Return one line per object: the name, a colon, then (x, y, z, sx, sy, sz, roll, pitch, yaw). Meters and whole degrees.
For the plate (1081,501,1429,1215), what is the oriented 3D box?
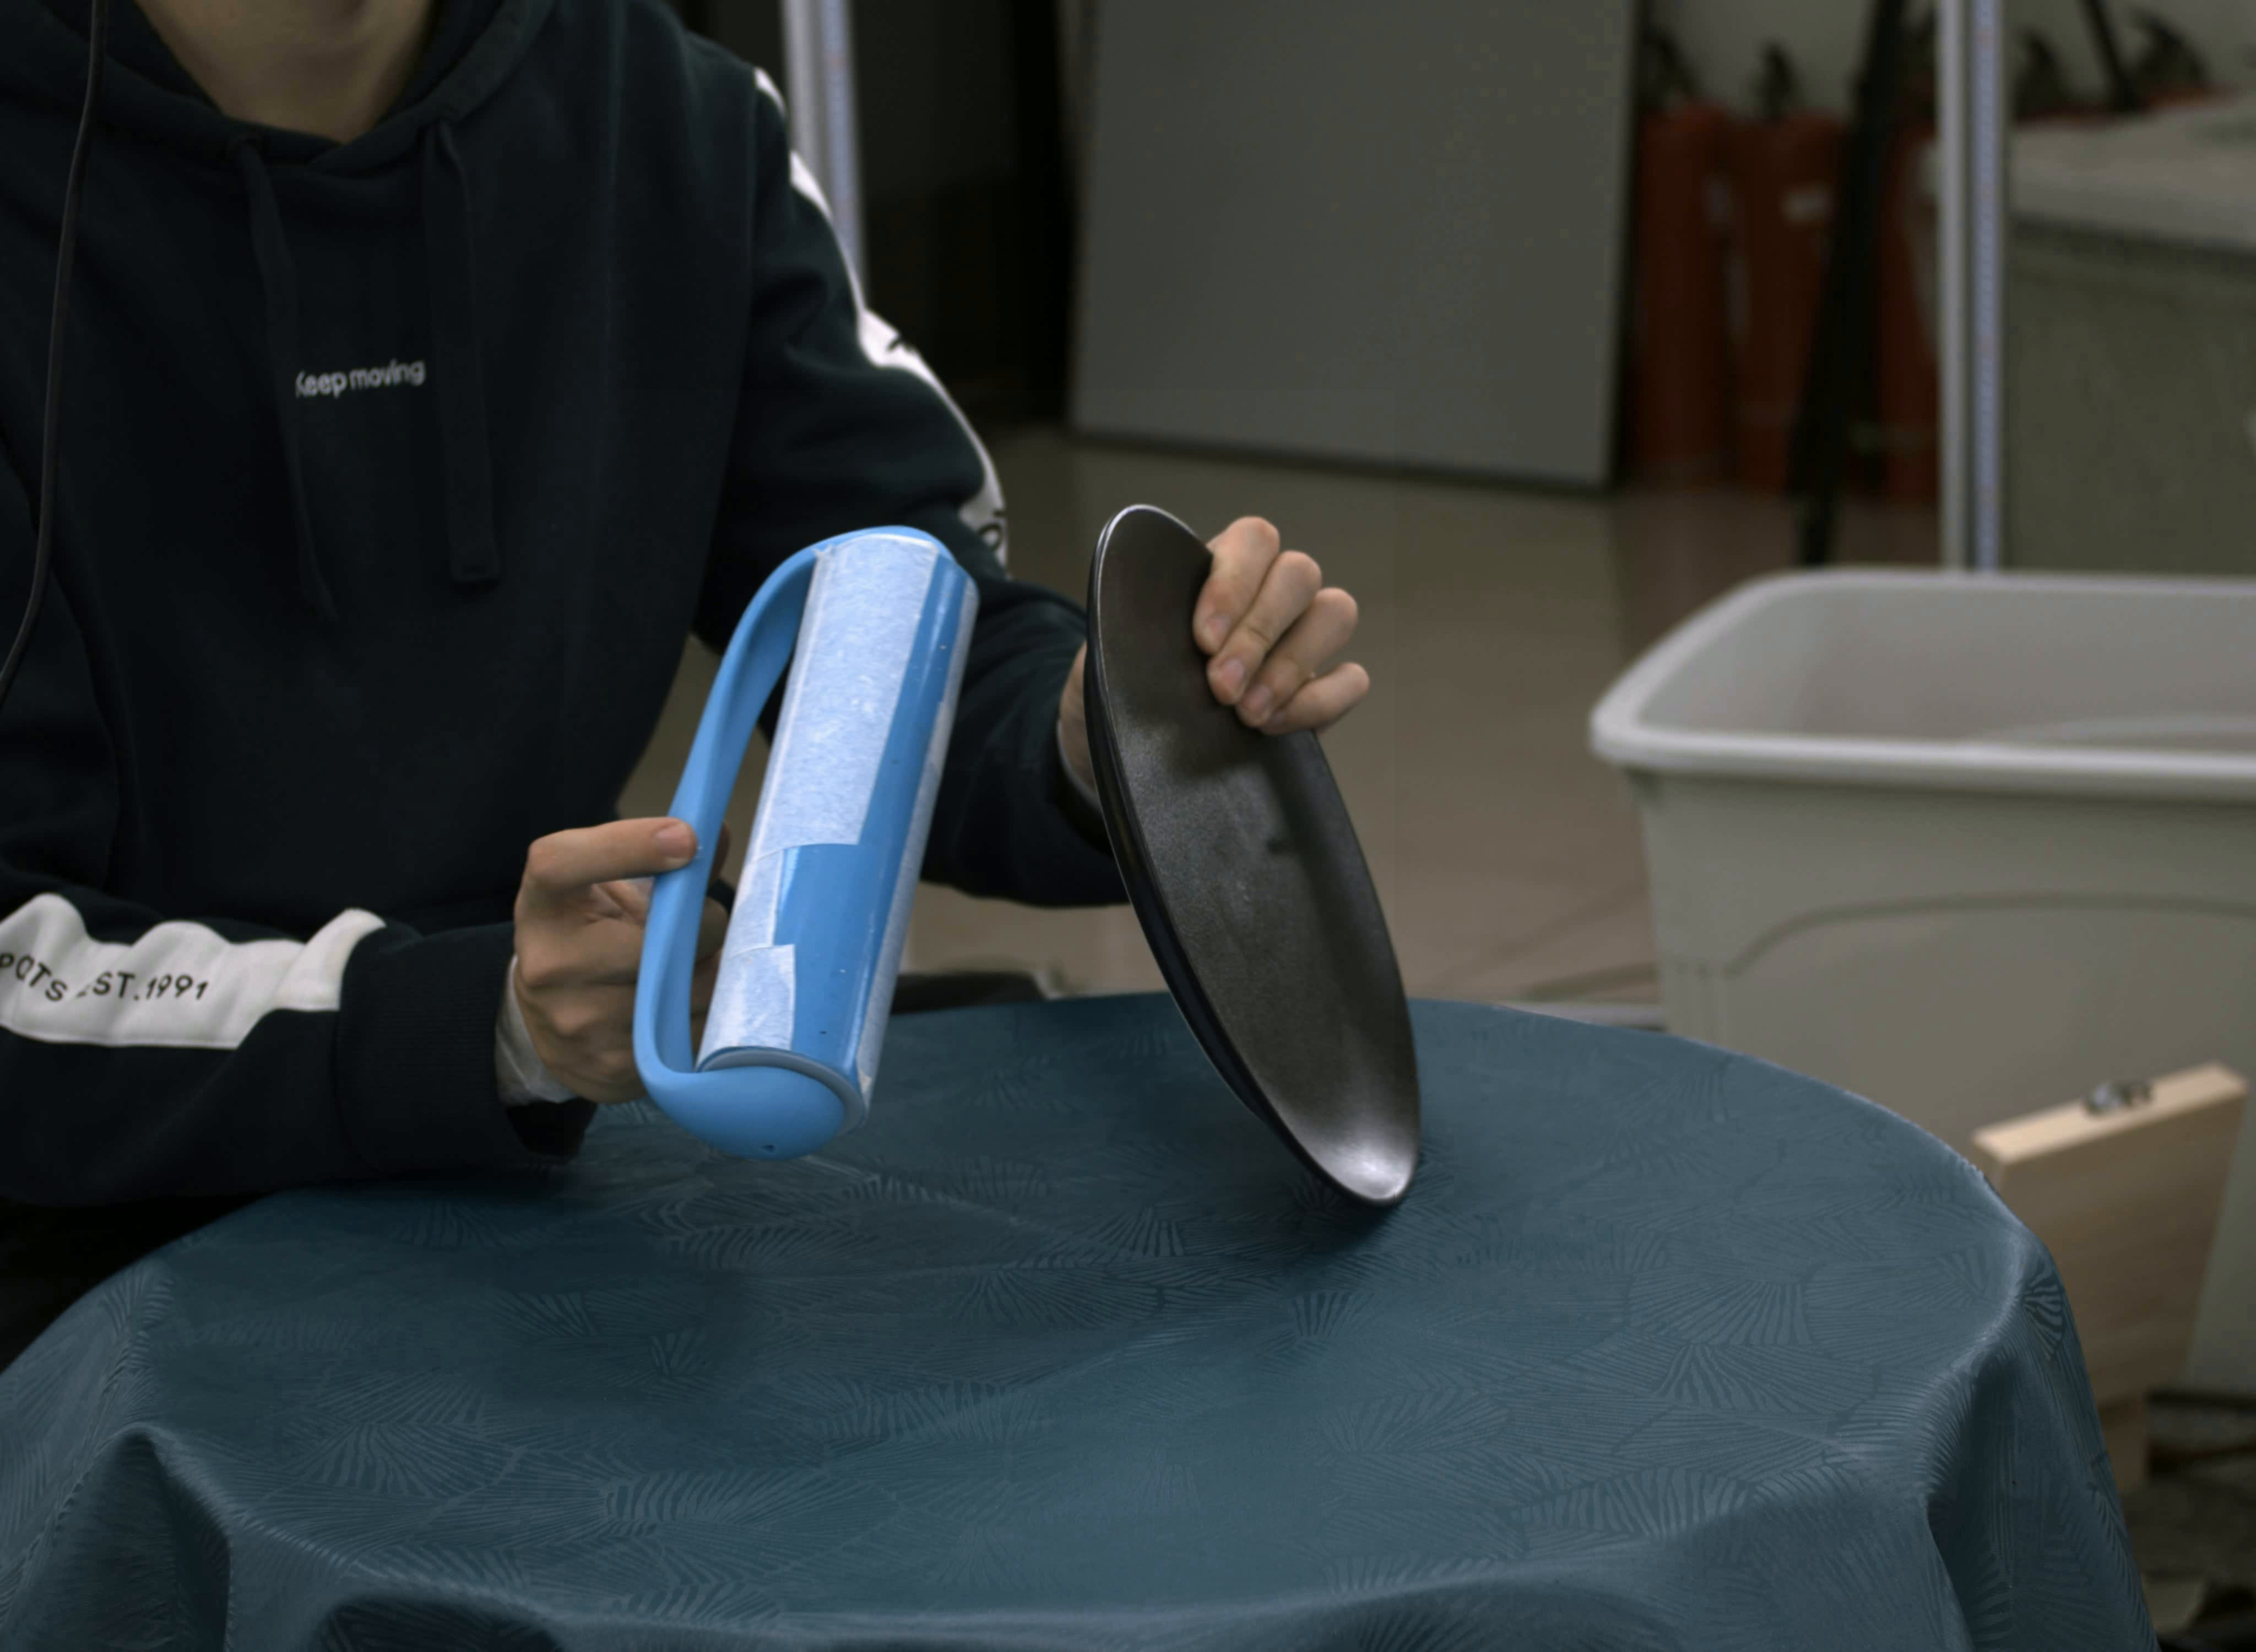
plate: (0.036, 0.013, 1.741, 0.023, 0.246, 0.243, -22, 8, 17)

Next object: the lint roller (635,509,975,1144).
lint roller: (-0.120, 0.024, 1.697, 0.067, 0.230, 0.182, 24, -39, -20)
